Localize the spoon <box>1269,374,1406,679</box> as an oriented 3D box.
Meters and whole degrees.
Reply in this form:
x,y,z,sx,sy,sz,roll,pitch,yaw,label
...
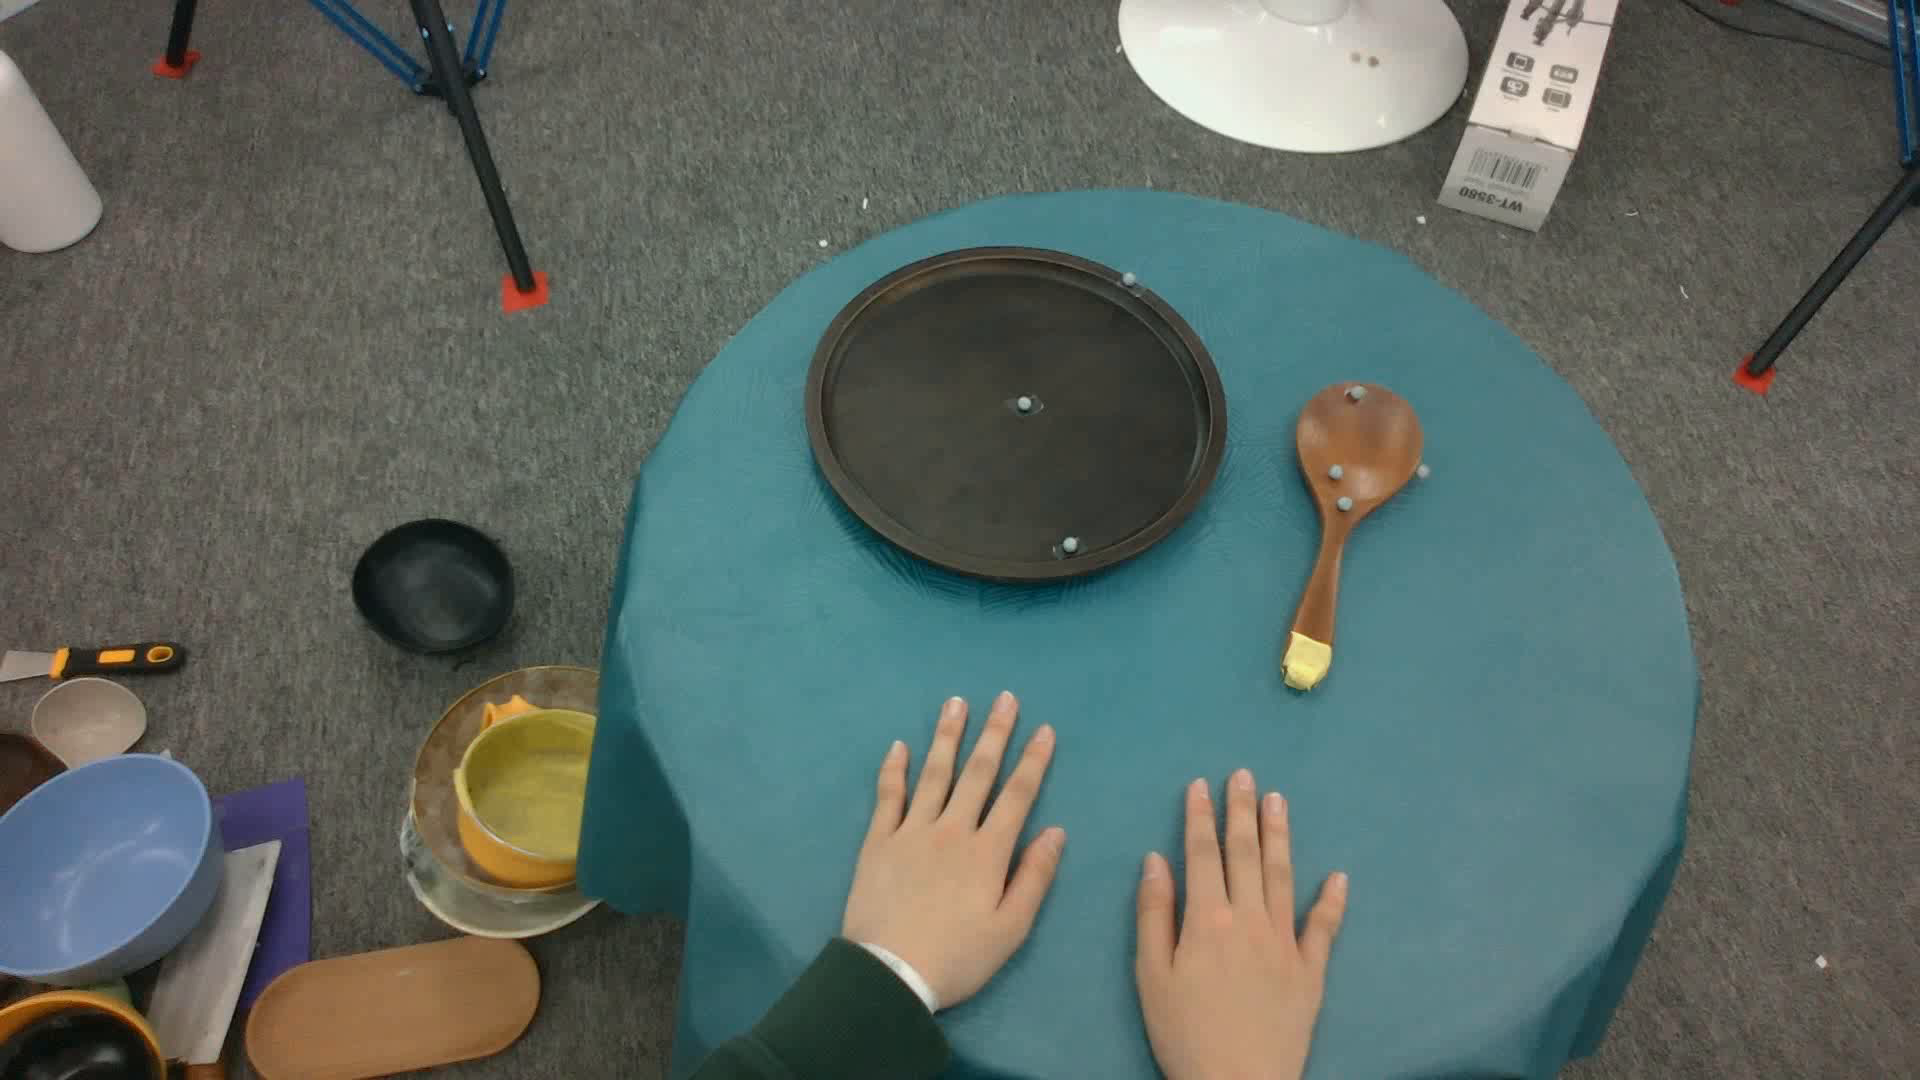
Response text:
x,y,z,sx,sy,sz,roll,pitch,yaw,label
0.209,-0.013,0.791,0.075,0.017,0.217,17,57,7,spoon

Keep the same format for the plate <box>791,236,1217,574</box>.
x,y,z,sx,sy,sz,roll,pitch,yaw,label
0.026,-0.086,0.824,0.255,0.029,0.256,2,55,-2,plate
